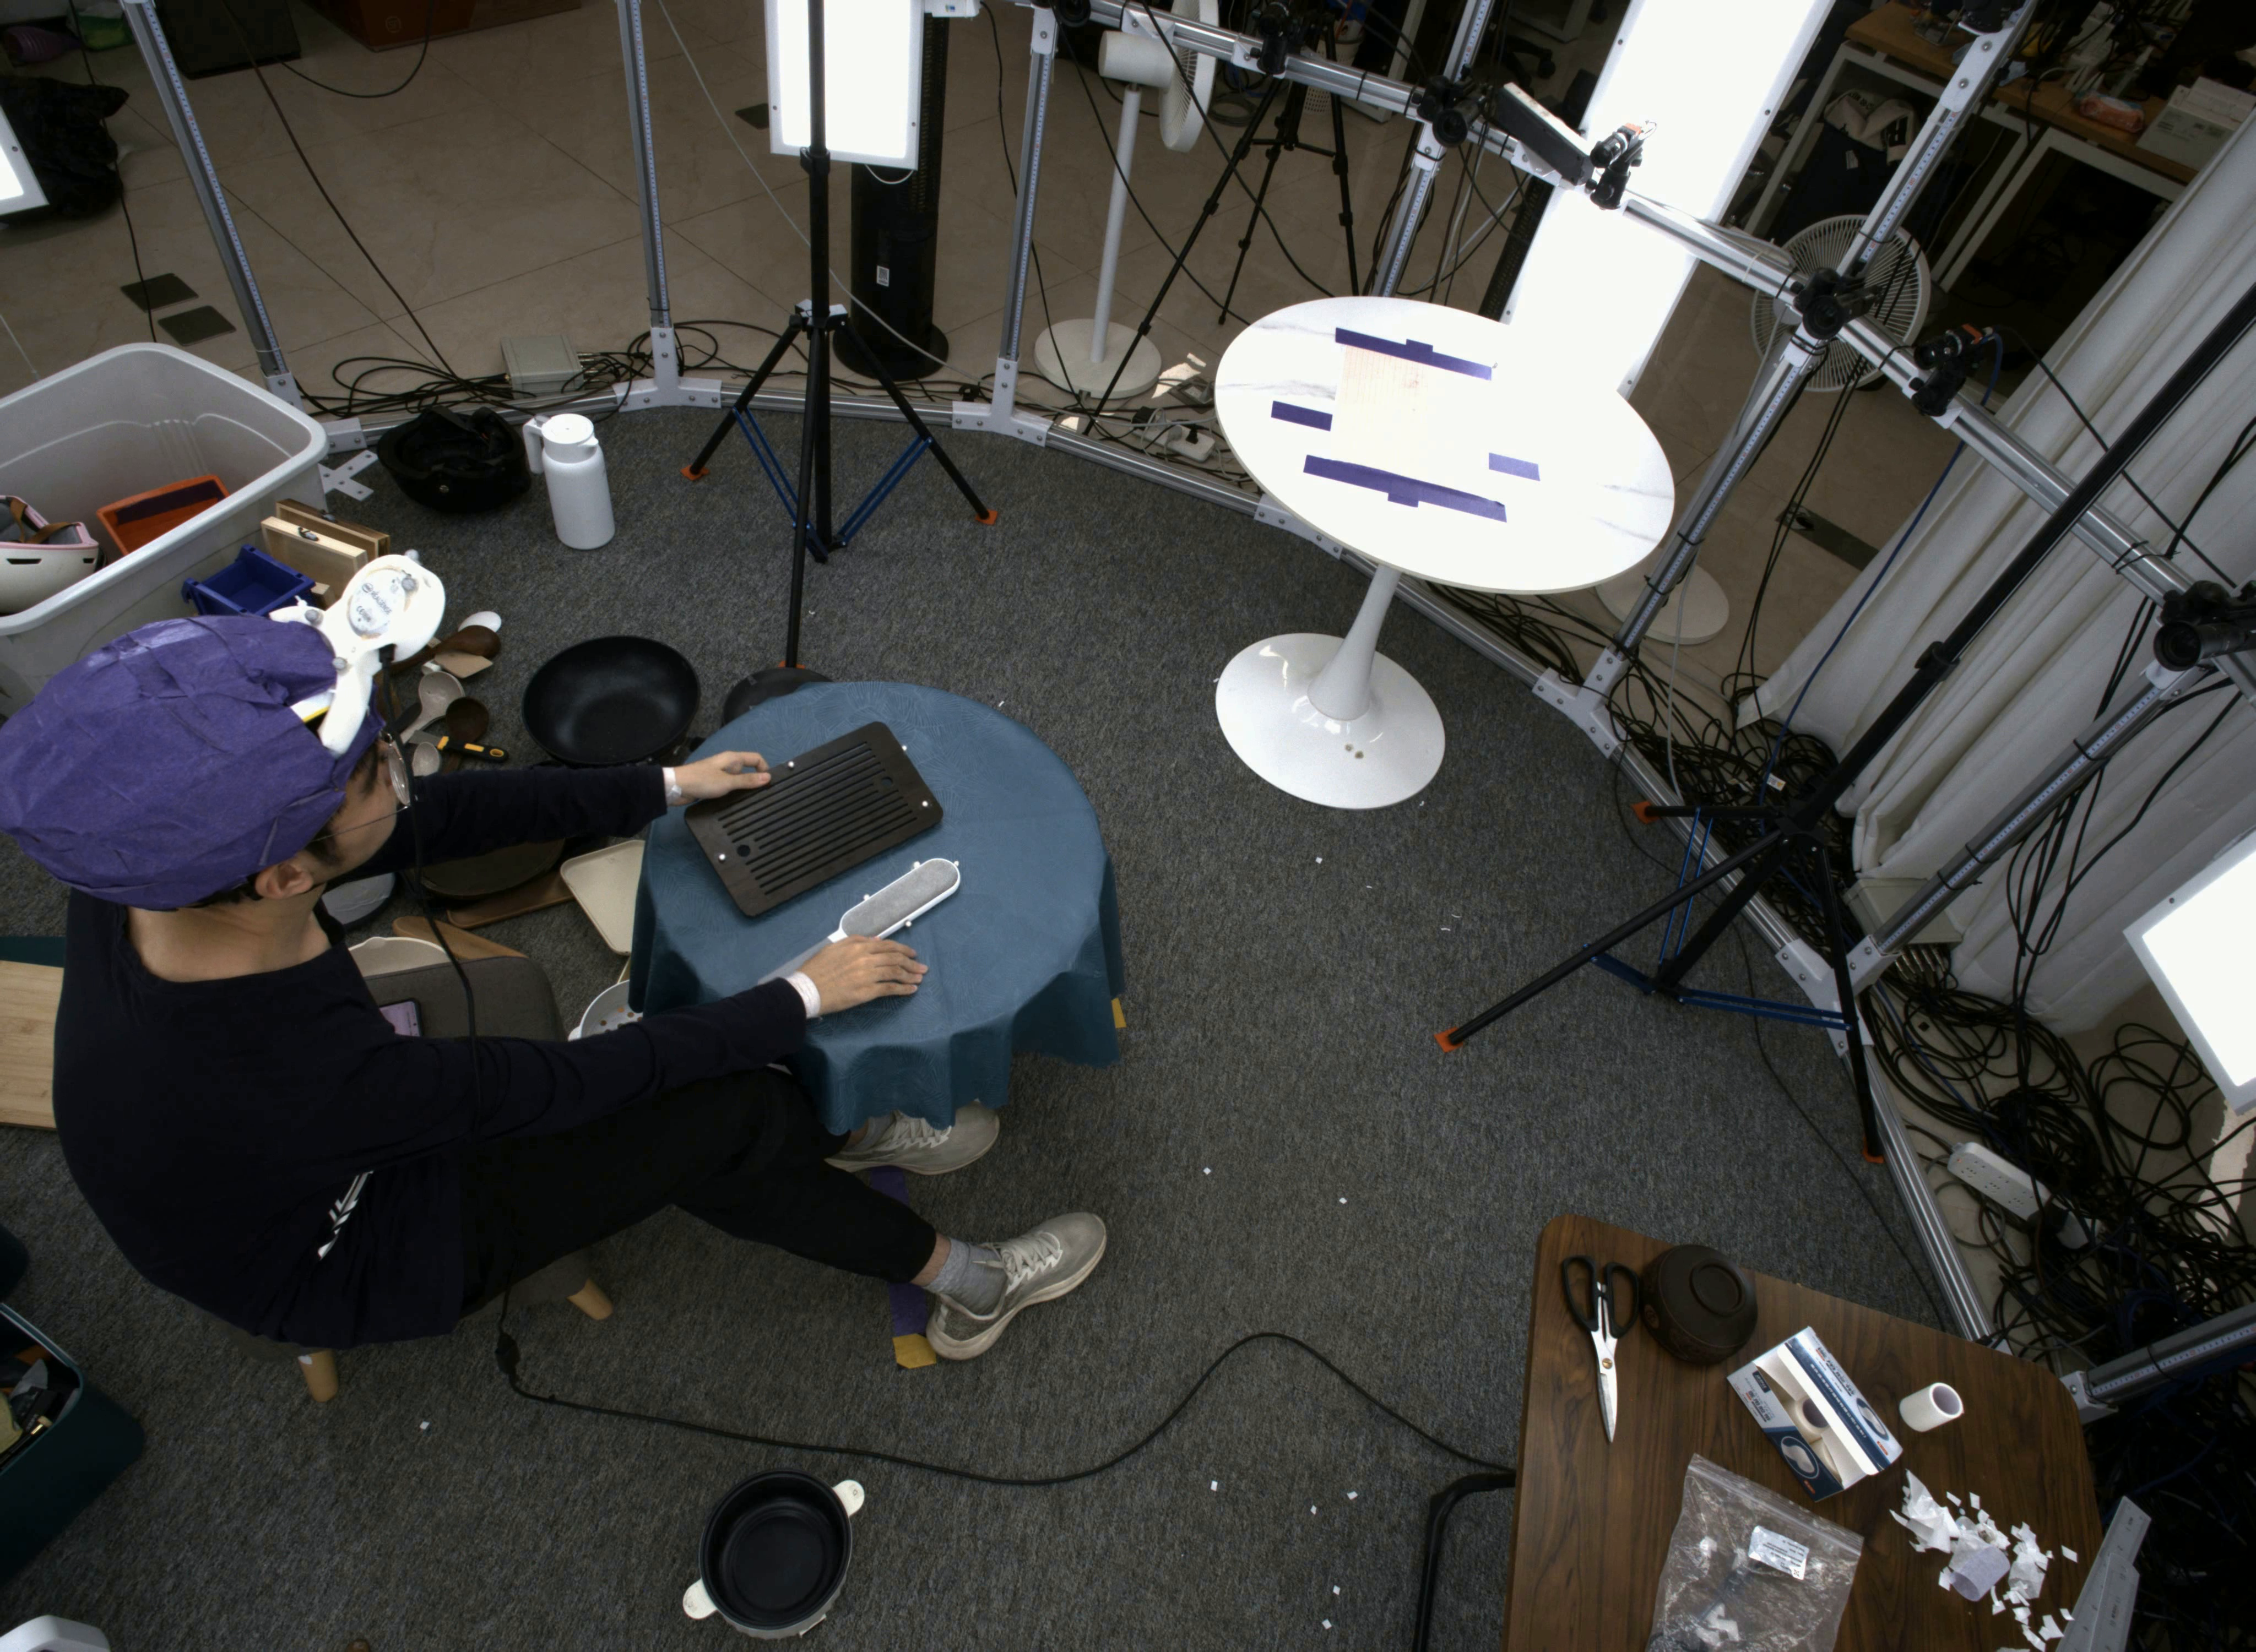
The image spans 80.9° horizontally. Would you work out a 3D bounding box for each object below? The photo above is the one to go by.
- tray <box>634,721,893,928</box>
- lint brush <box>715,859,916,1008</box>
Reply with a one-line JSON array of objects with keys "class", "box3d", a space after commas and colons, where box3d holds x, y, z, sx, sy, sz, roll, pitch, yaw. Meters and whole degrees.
[{"class": "tray", "box3d": [-0.472, -0.007, 1.690, 0.307, 0.018, 0.169, -34, 84, -32]}, {"class": "lint brush", "box3d": [-0.390, 0.130, 1.630, 0.059, 0.021, 0.309, 45, 56, 13]}]
